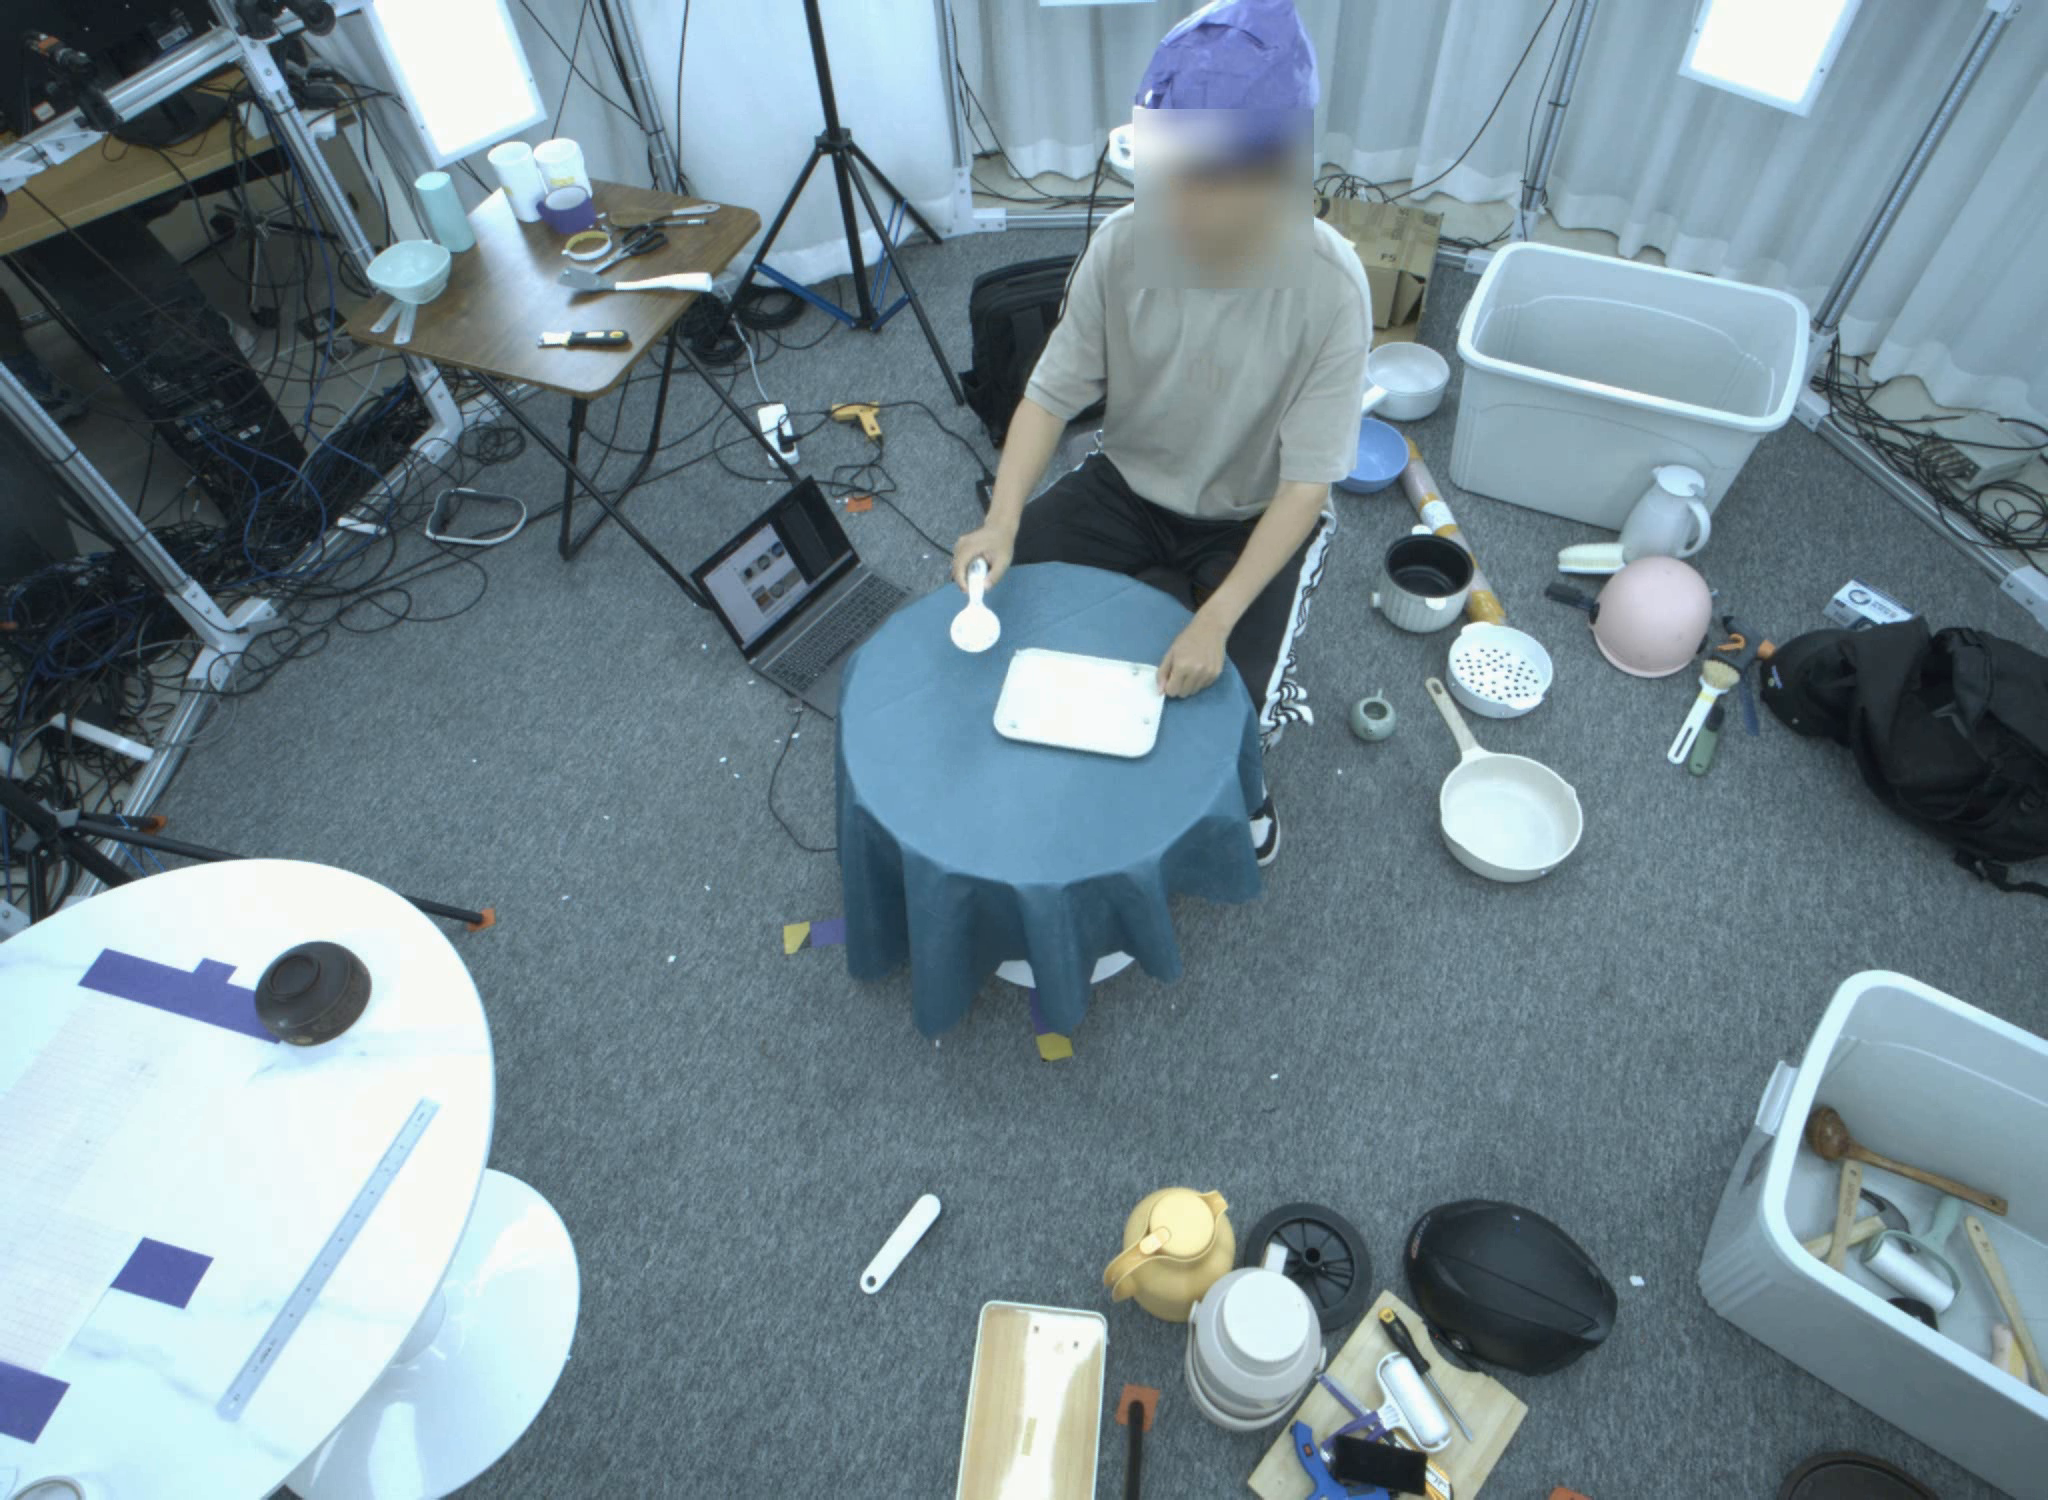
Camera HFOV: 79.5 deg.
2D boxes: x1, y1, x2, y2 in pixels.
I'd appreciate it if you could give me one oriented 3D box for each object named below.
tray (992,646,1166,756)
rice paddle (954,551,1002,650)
[{"bbox_3d":[0.082,-0.072,1.822,0.238,0.017,0.170,10,57,9],"label":"tray"},{"bbox_3d":[-0.067,-0.216,1.780,0.069,0.030,0.203,-3,47,1],"label":"rice paddle"}]
